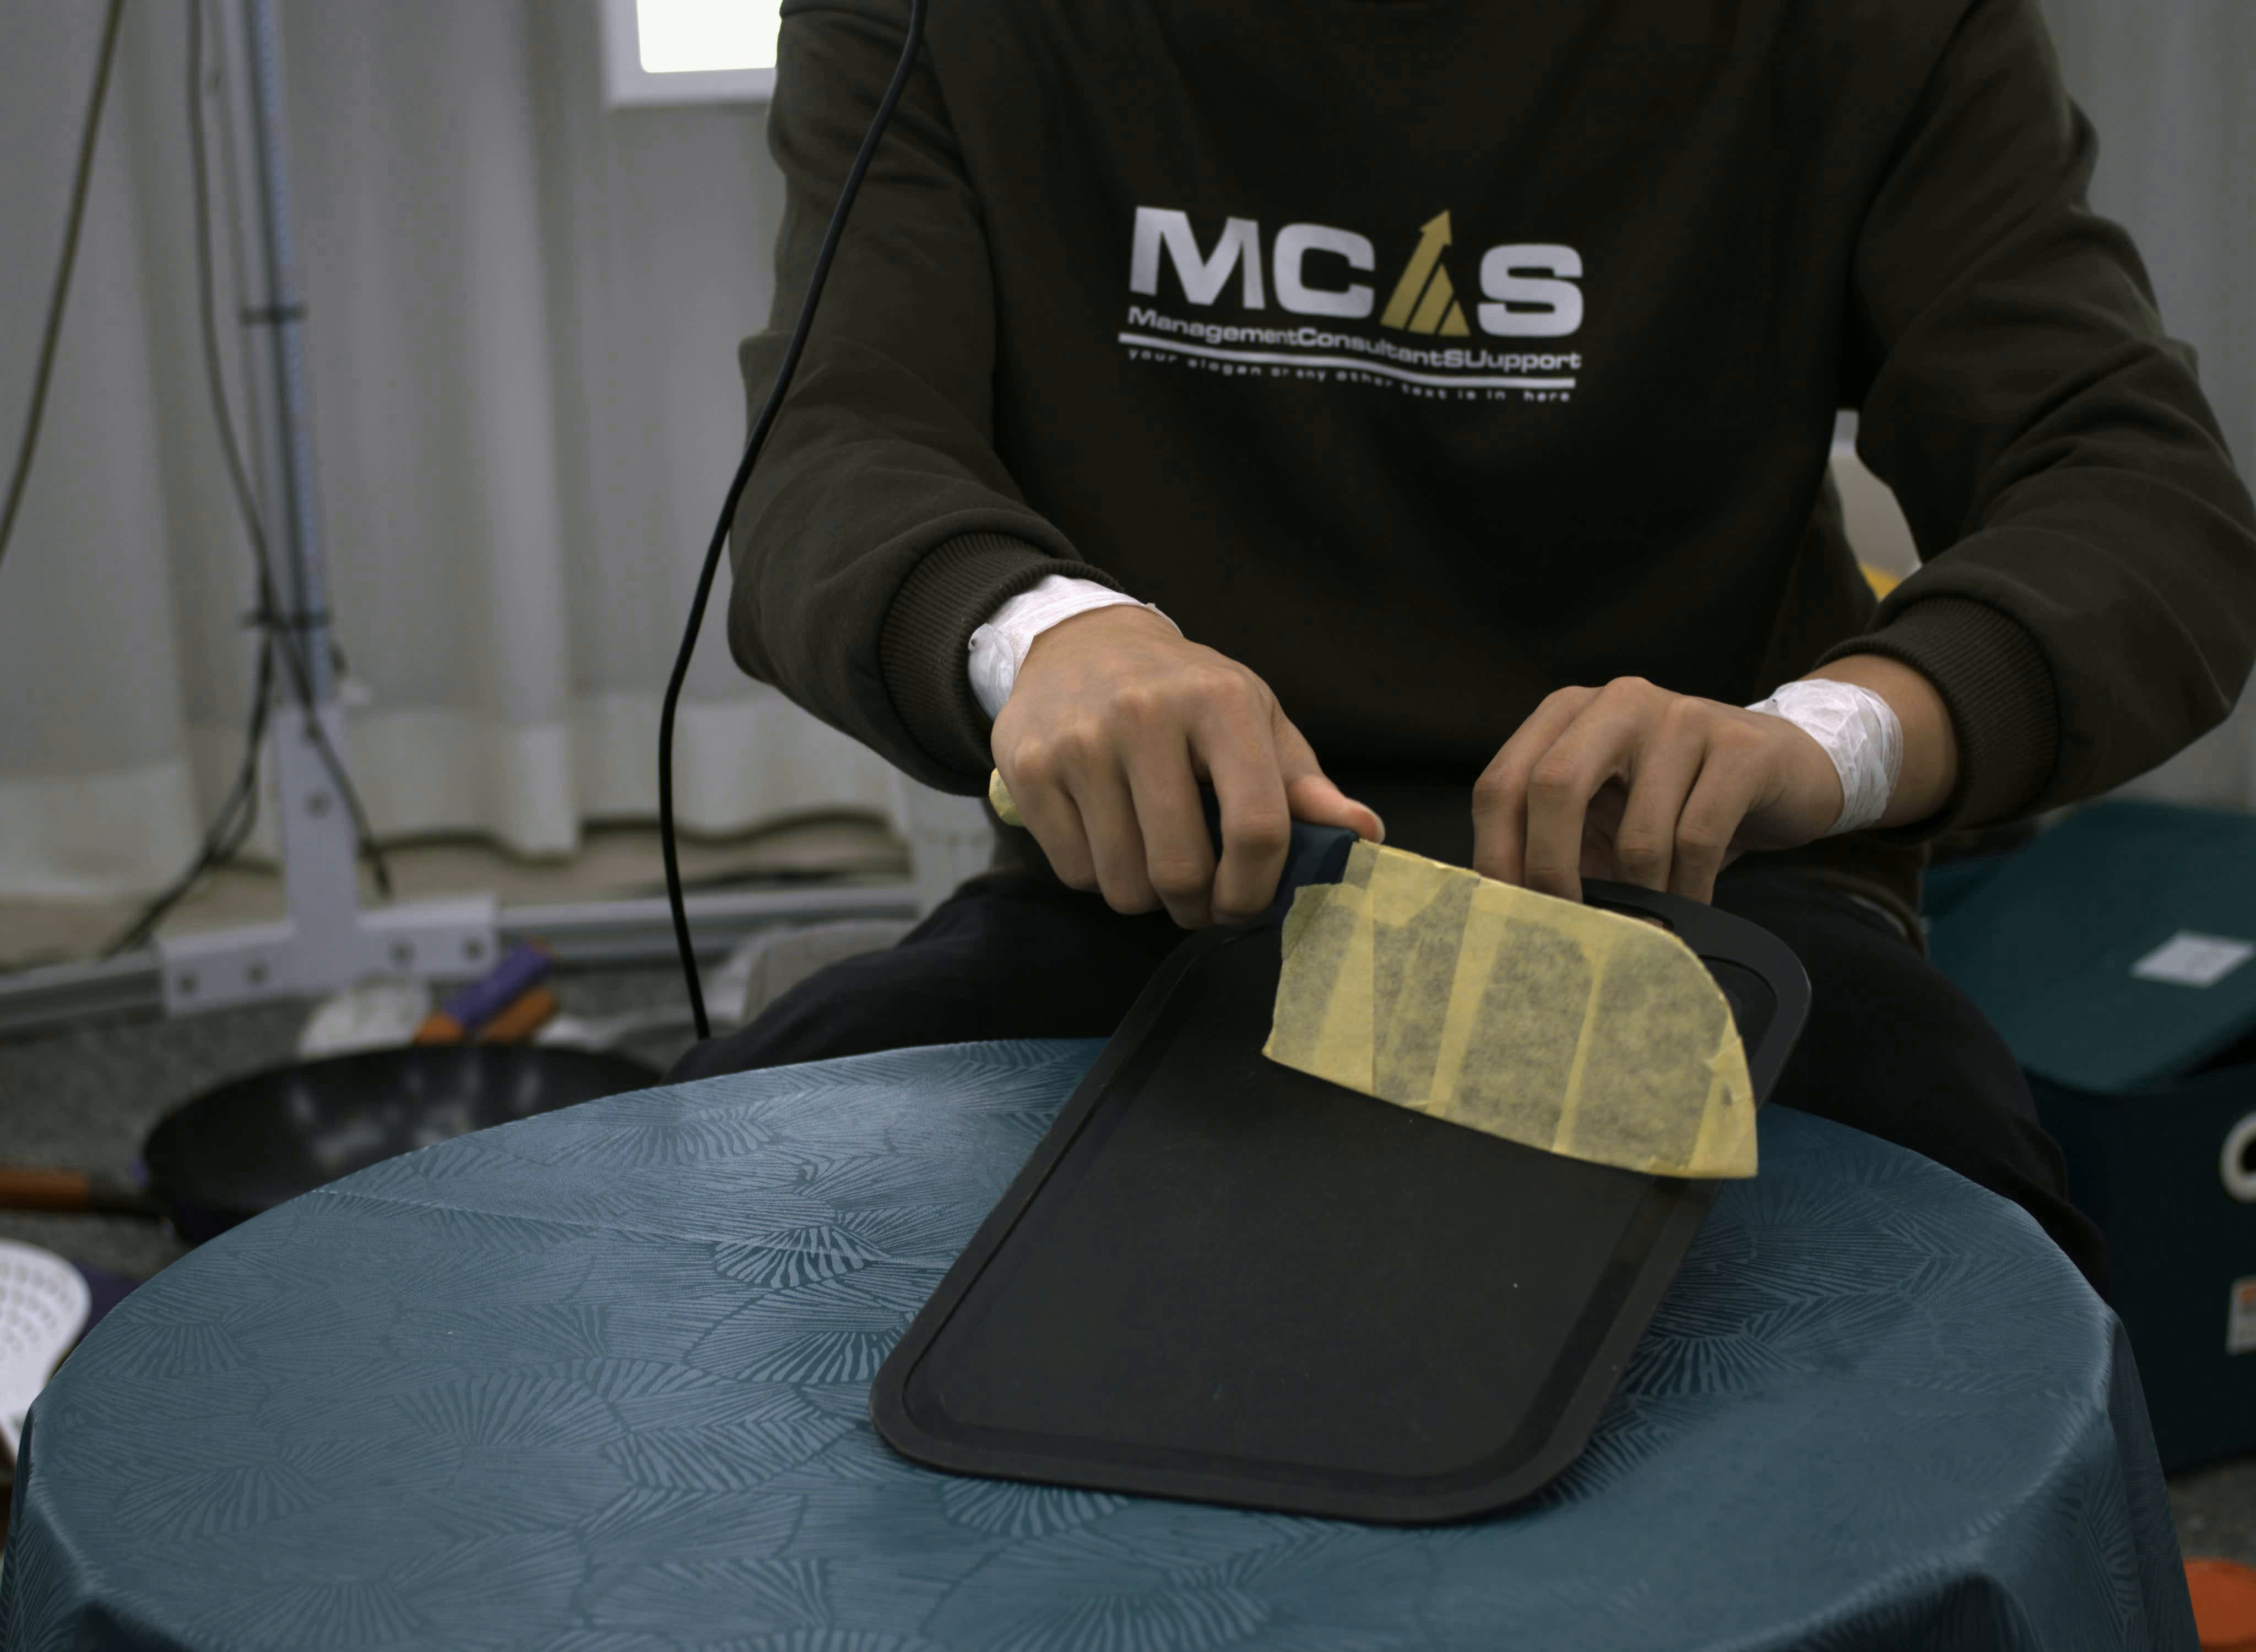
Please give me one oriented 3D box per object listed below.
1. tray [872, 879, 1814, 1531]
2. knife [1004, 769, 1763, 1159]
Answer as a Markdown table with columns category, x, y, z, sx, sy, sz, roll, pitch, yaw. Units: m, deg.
| category | x | y | z | sx | sy | sz | roll | pitch | yaw |
| --- | --- | --- | --- | --- | --- | --- | --- | --- | --- |
| tray | 0.070 | 0.098 | 1.590 | 0.211 | 0.010 | 0.328 | 4 | 31 | 24 |
| knife | 0.071 | 0.038 | 1.632 | 0.291 | 0.081 | 0.027 | 20 | 5 | 38 |
